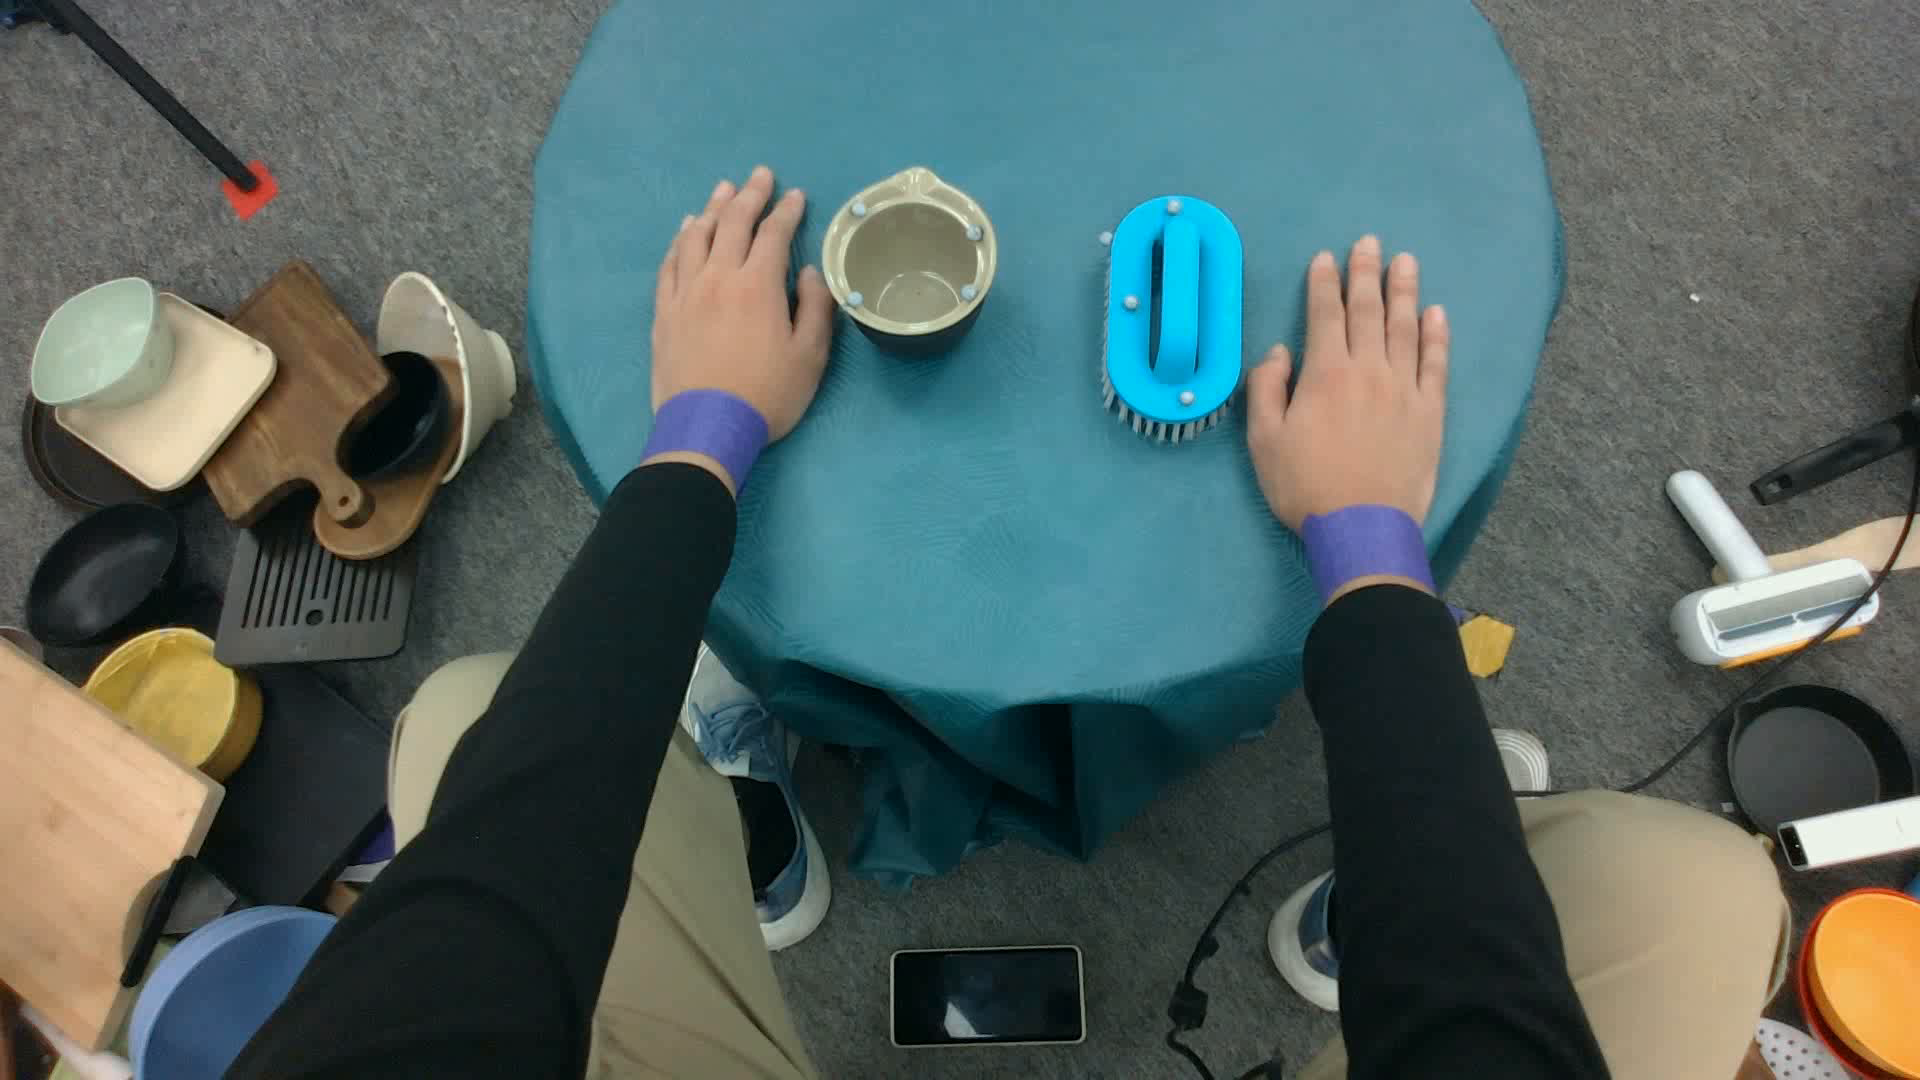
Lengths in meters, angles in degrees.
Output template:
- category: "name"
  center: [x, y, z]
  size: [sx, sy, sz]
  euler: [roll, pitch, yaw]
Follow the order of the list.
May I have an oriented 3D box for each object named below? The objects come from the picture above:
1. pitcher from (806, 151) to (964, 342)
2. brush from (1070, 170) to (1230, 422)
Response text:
- category: "pitcher"
  center: [-0.038, -0.153, 0.754]
  size: [0.083, 0.071, 0.096]
  euler: [8, 71, 6]
- category: "brush"
  center: [0.106, -0.140, 0.751]
  size: [0.084, 0.063, 0.142]
  euler: [5, 73, -1]
